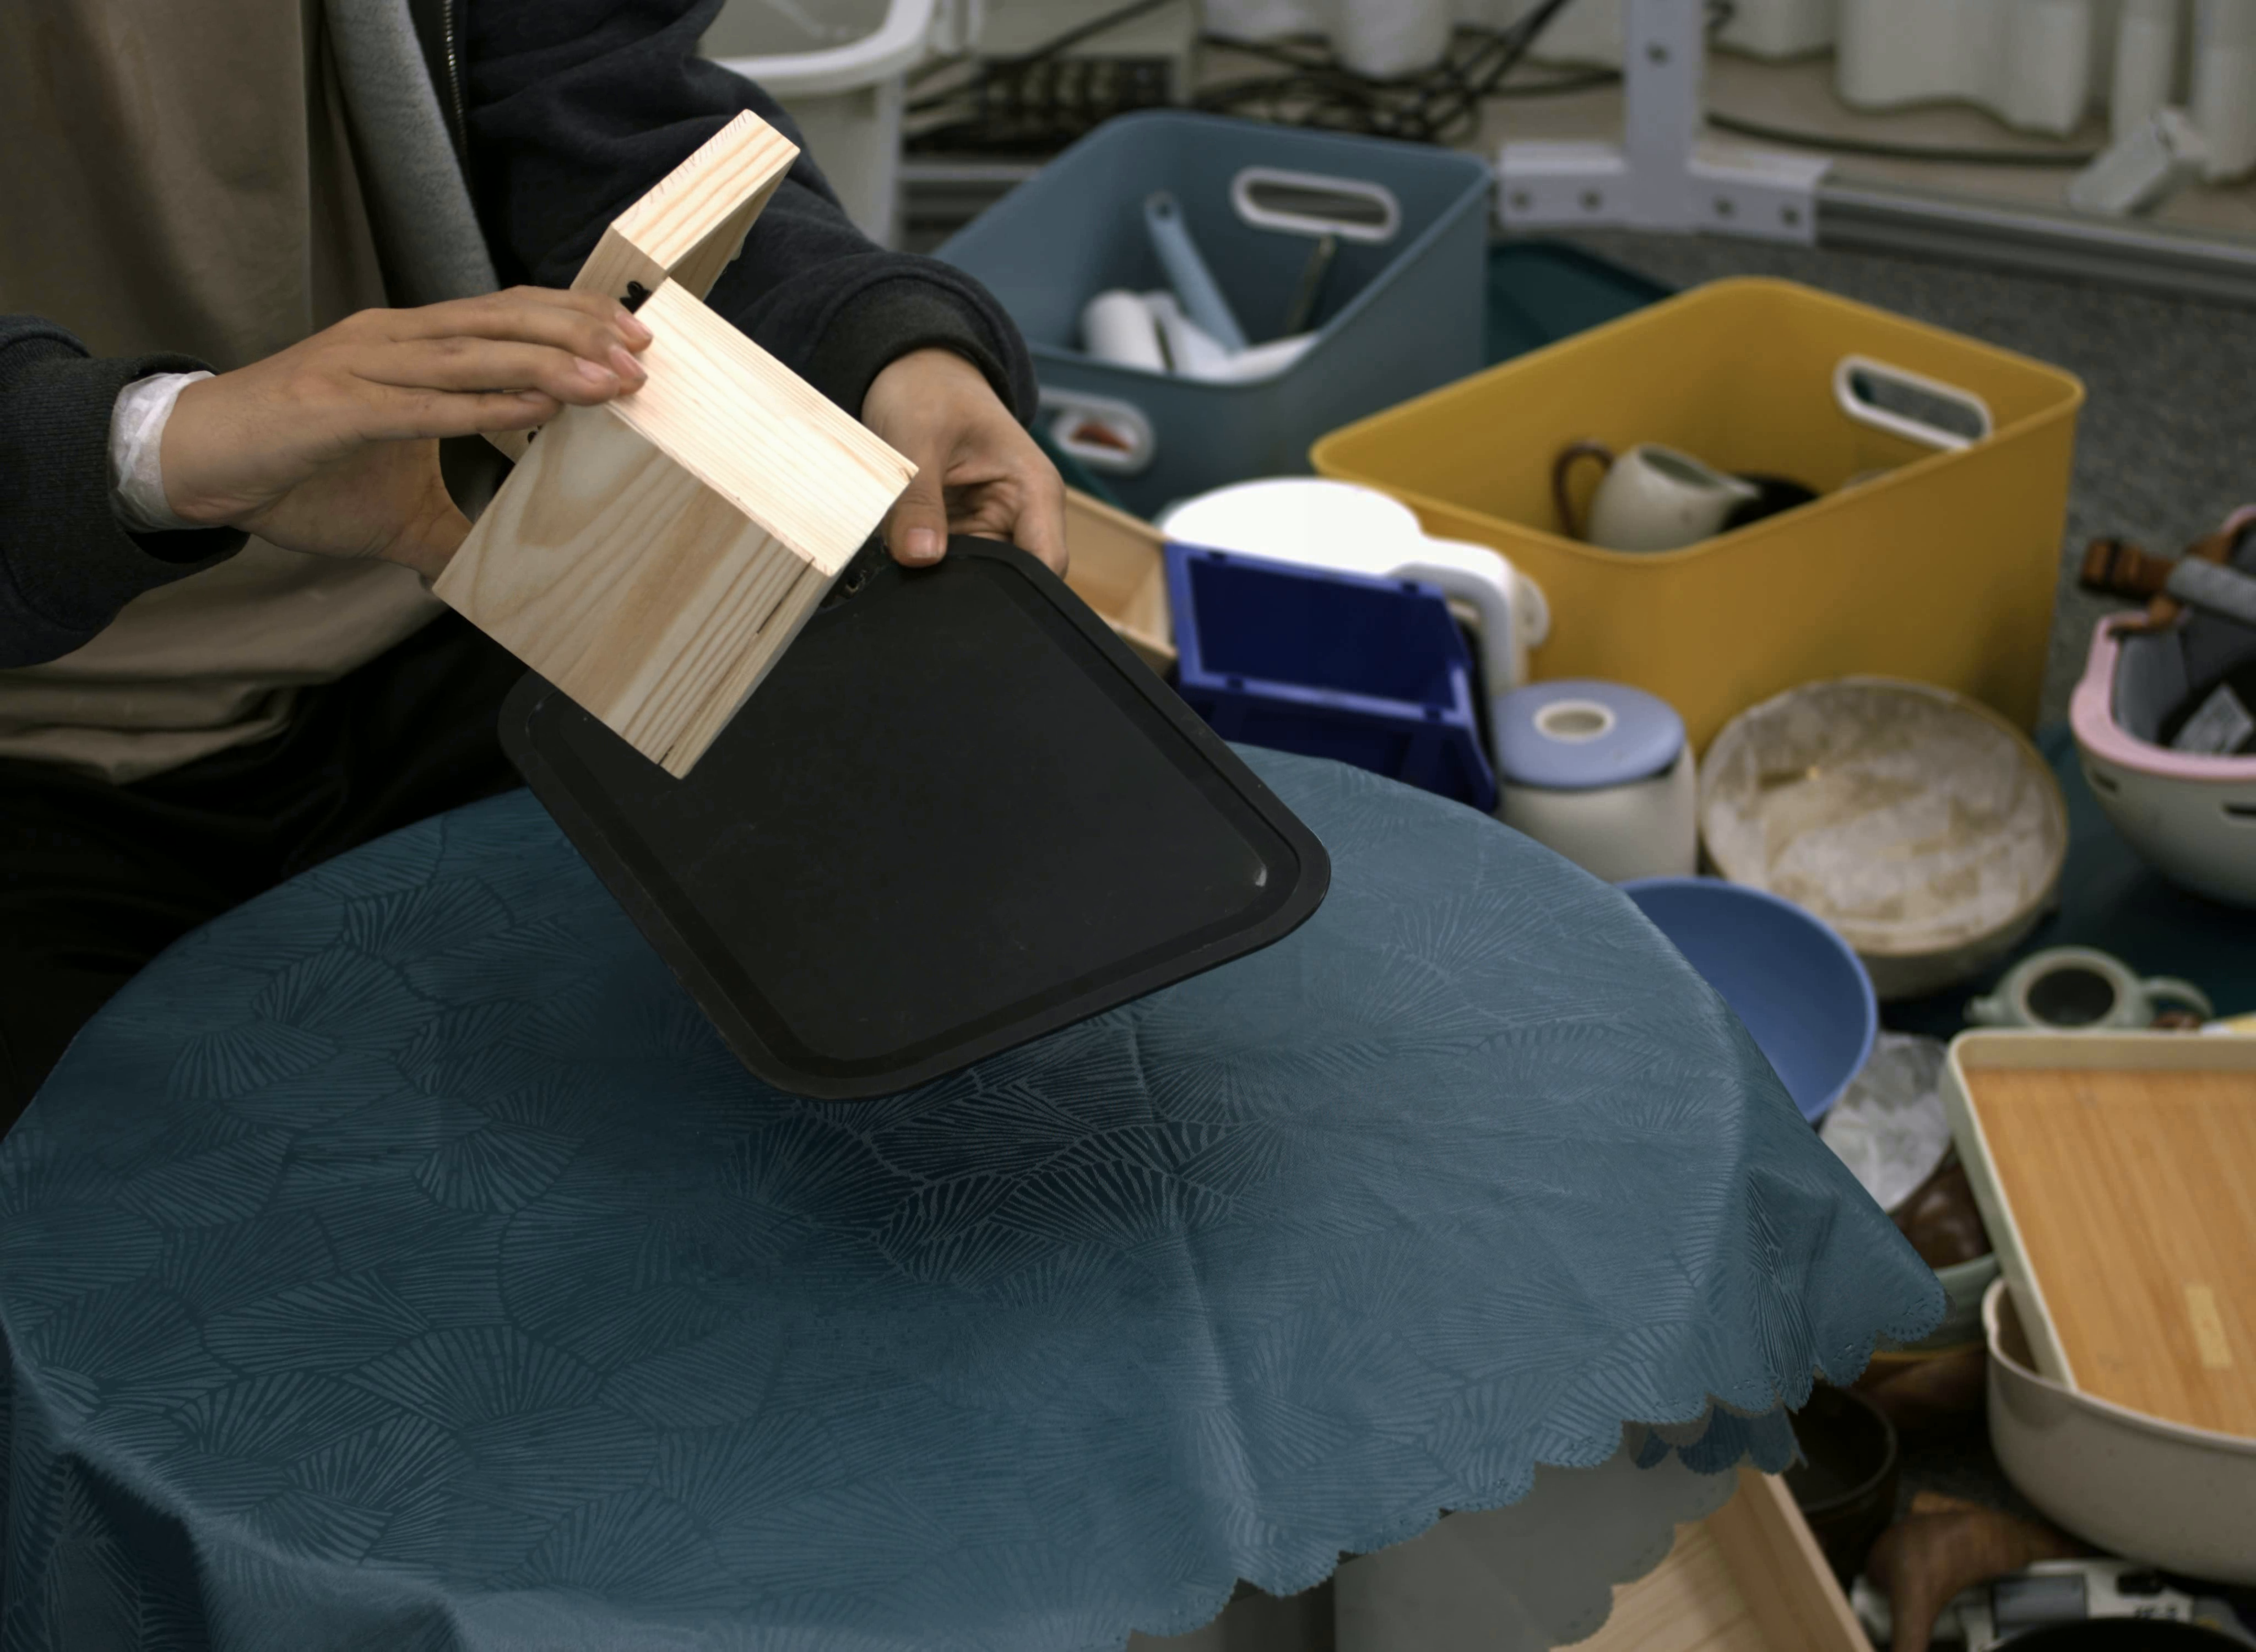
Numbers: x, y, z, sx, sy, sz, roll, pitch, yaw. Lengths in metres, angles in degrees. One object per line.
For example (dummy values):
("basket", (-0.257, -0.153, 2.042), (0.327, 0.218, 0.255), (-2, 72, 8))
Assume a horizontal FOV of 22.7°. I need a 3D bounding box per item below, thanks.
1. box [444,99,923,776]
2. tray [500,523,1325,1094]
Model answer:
("box", (-0.132, -0.128, 1.837), (0.133, 0.101, 0.188), (36, 37, -3))
("tray", (-0.083, -0.017, 1.918), (0.212, 0.009, 0.328), (-20, 36, -17))
